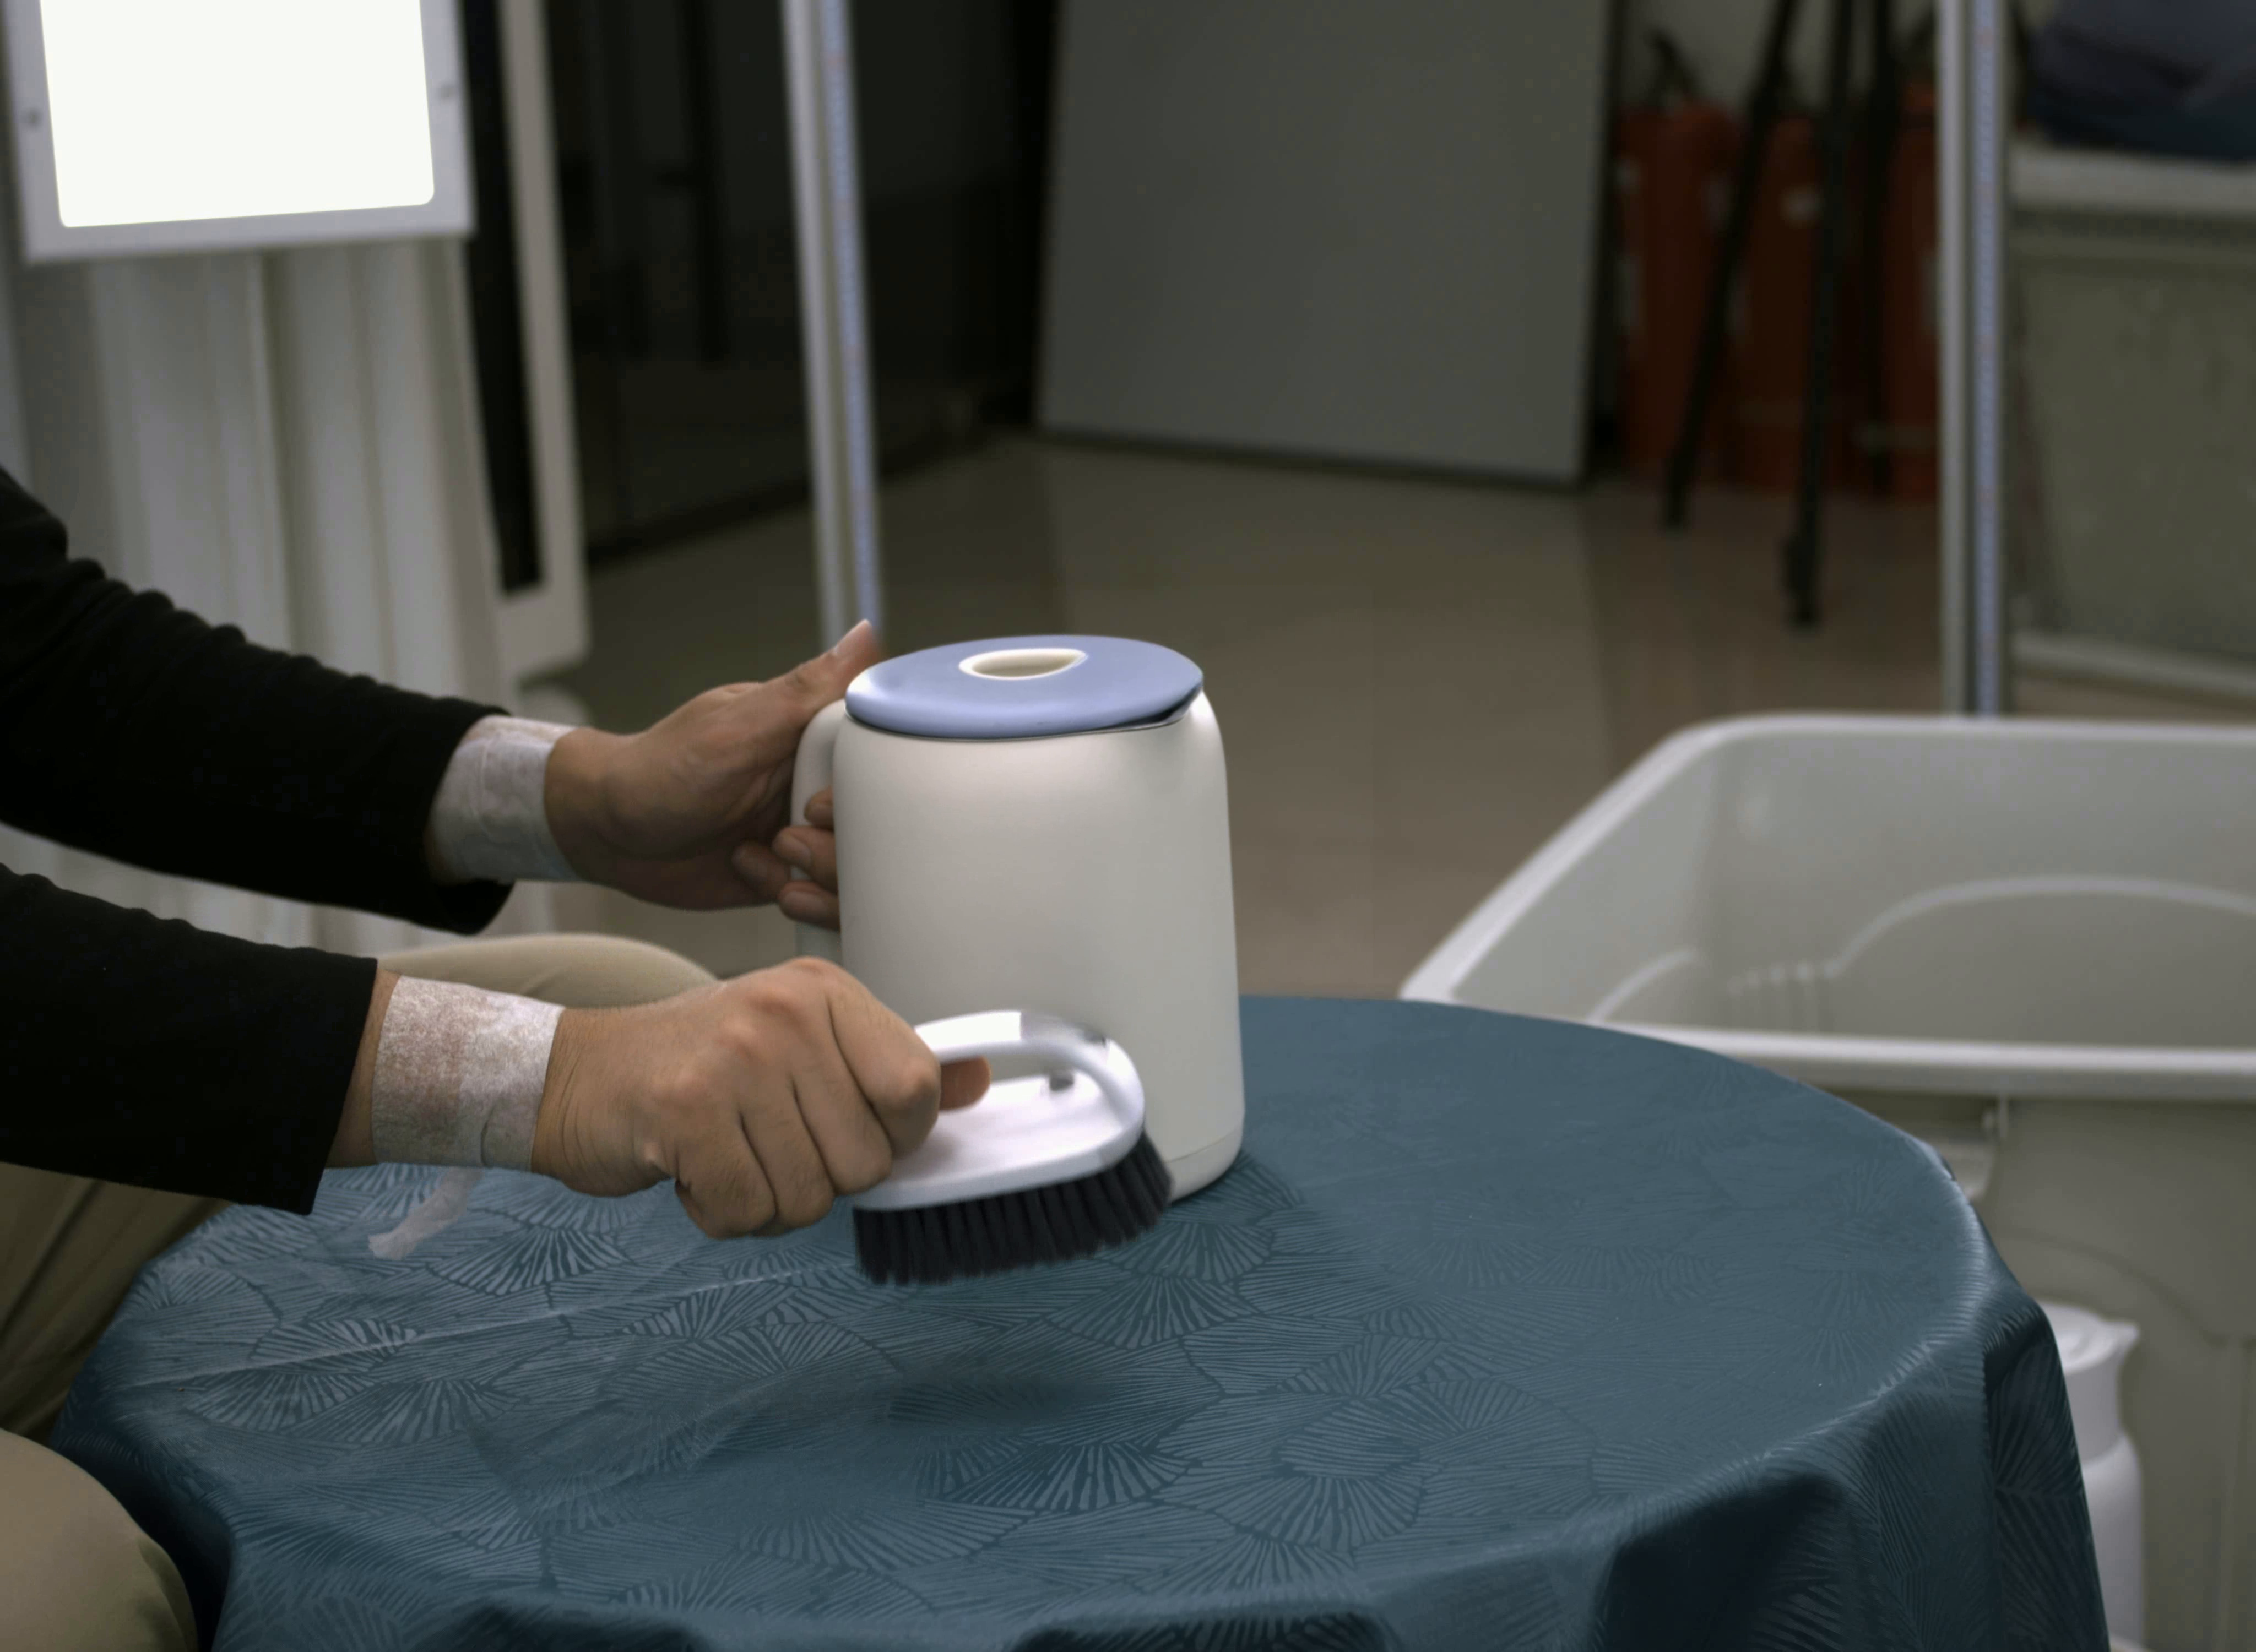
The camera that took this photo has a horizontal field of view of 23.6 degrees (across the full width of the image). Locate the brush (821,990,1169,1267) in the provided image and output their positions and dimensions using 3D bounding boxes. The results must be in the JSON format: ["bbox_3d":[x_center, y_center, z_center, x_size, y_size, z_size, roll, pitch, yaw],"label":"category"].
[{"bbox_3d":[-0.043,0.083,1.584,0.099,0.072,0.050,-10,31,13],"label":"brush"}]

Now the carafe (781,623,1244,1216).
[{"bbox_3d":[-0.047,0.029,1.796,0.129,0.184,0.193,-16,17,-42],"label":"carafe"}]
